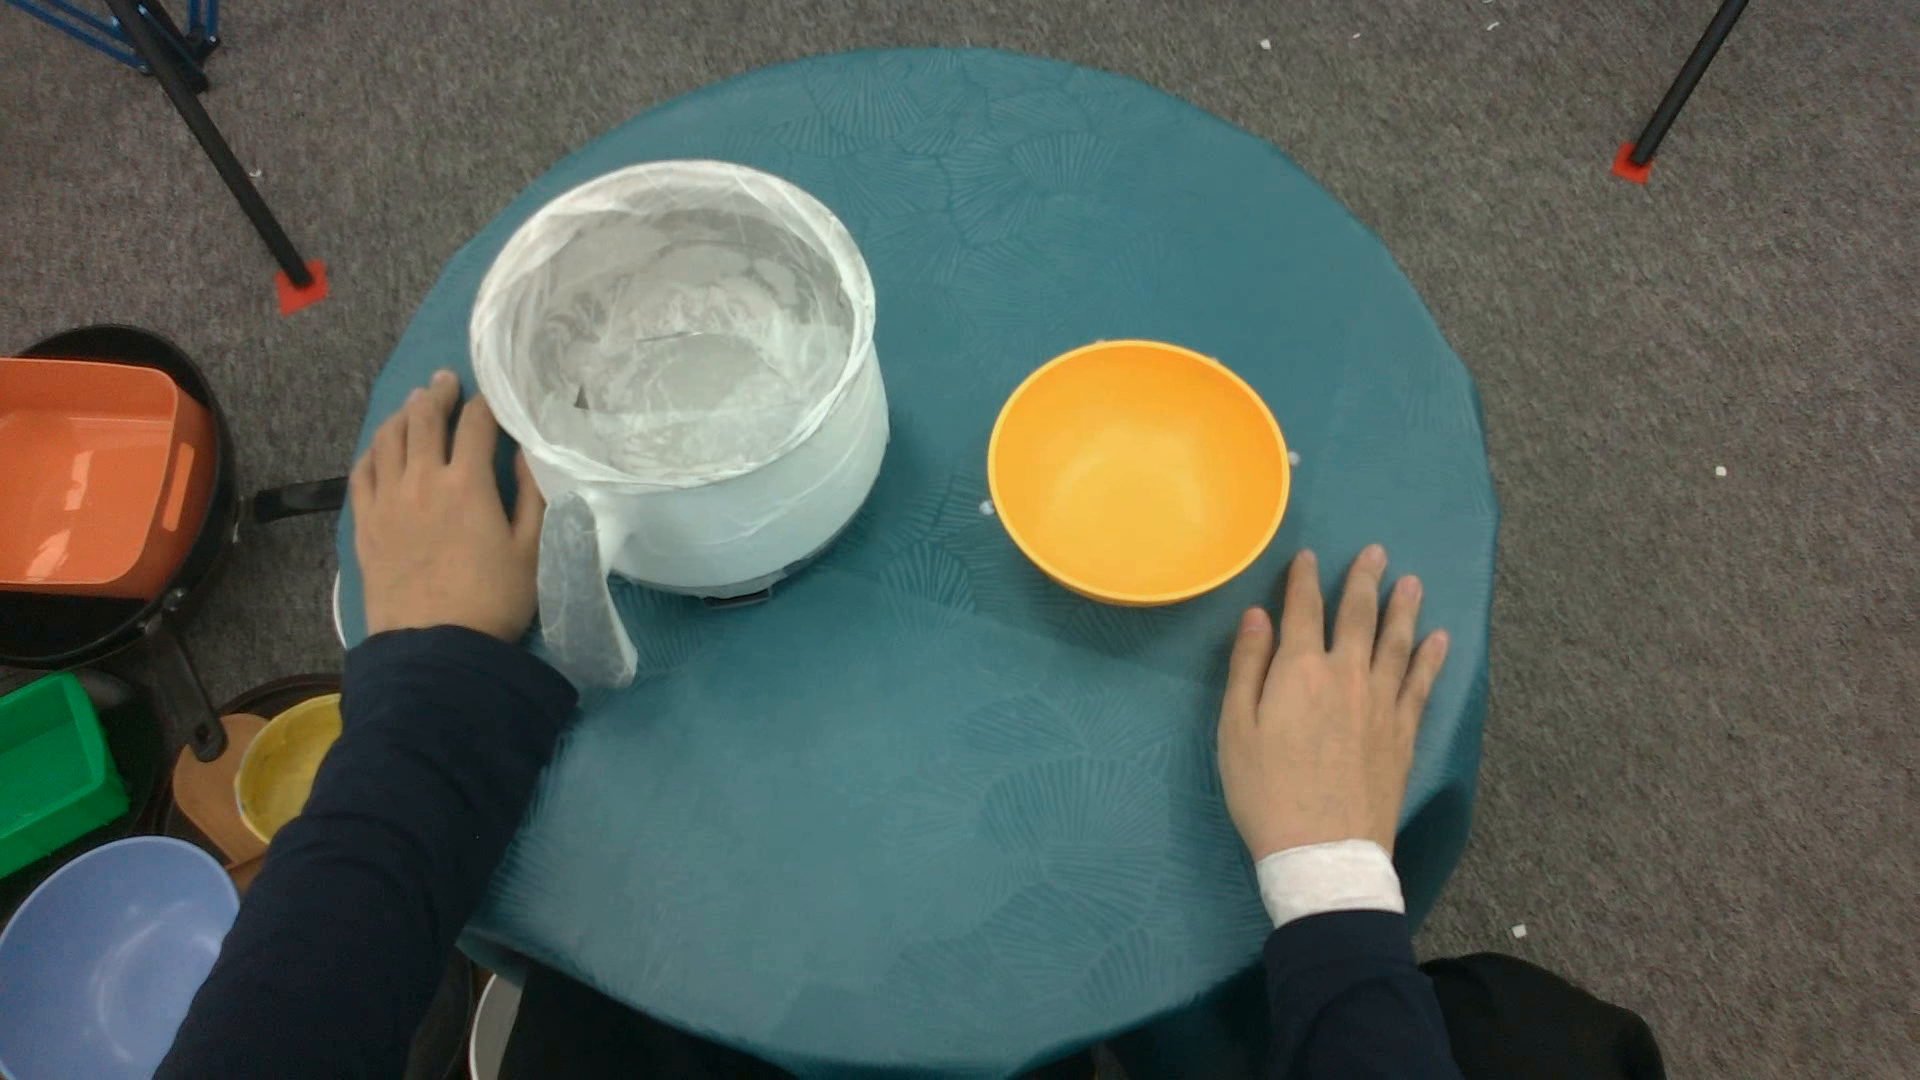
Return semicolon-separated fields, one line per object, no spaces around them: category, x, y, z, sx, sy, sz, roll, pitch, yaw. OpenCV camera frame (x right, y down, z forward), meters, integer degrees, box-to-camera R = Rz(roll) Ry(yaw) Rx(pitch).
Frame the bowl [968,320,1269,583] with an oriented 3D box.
bowl;0.076;-0.035;0.686;0.145;0.060;0.146;0;63;0

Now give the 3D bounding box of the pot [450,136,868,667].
pot;-0.144;-0.060;0.653;0.178;0.136;0.234;15;64;9
